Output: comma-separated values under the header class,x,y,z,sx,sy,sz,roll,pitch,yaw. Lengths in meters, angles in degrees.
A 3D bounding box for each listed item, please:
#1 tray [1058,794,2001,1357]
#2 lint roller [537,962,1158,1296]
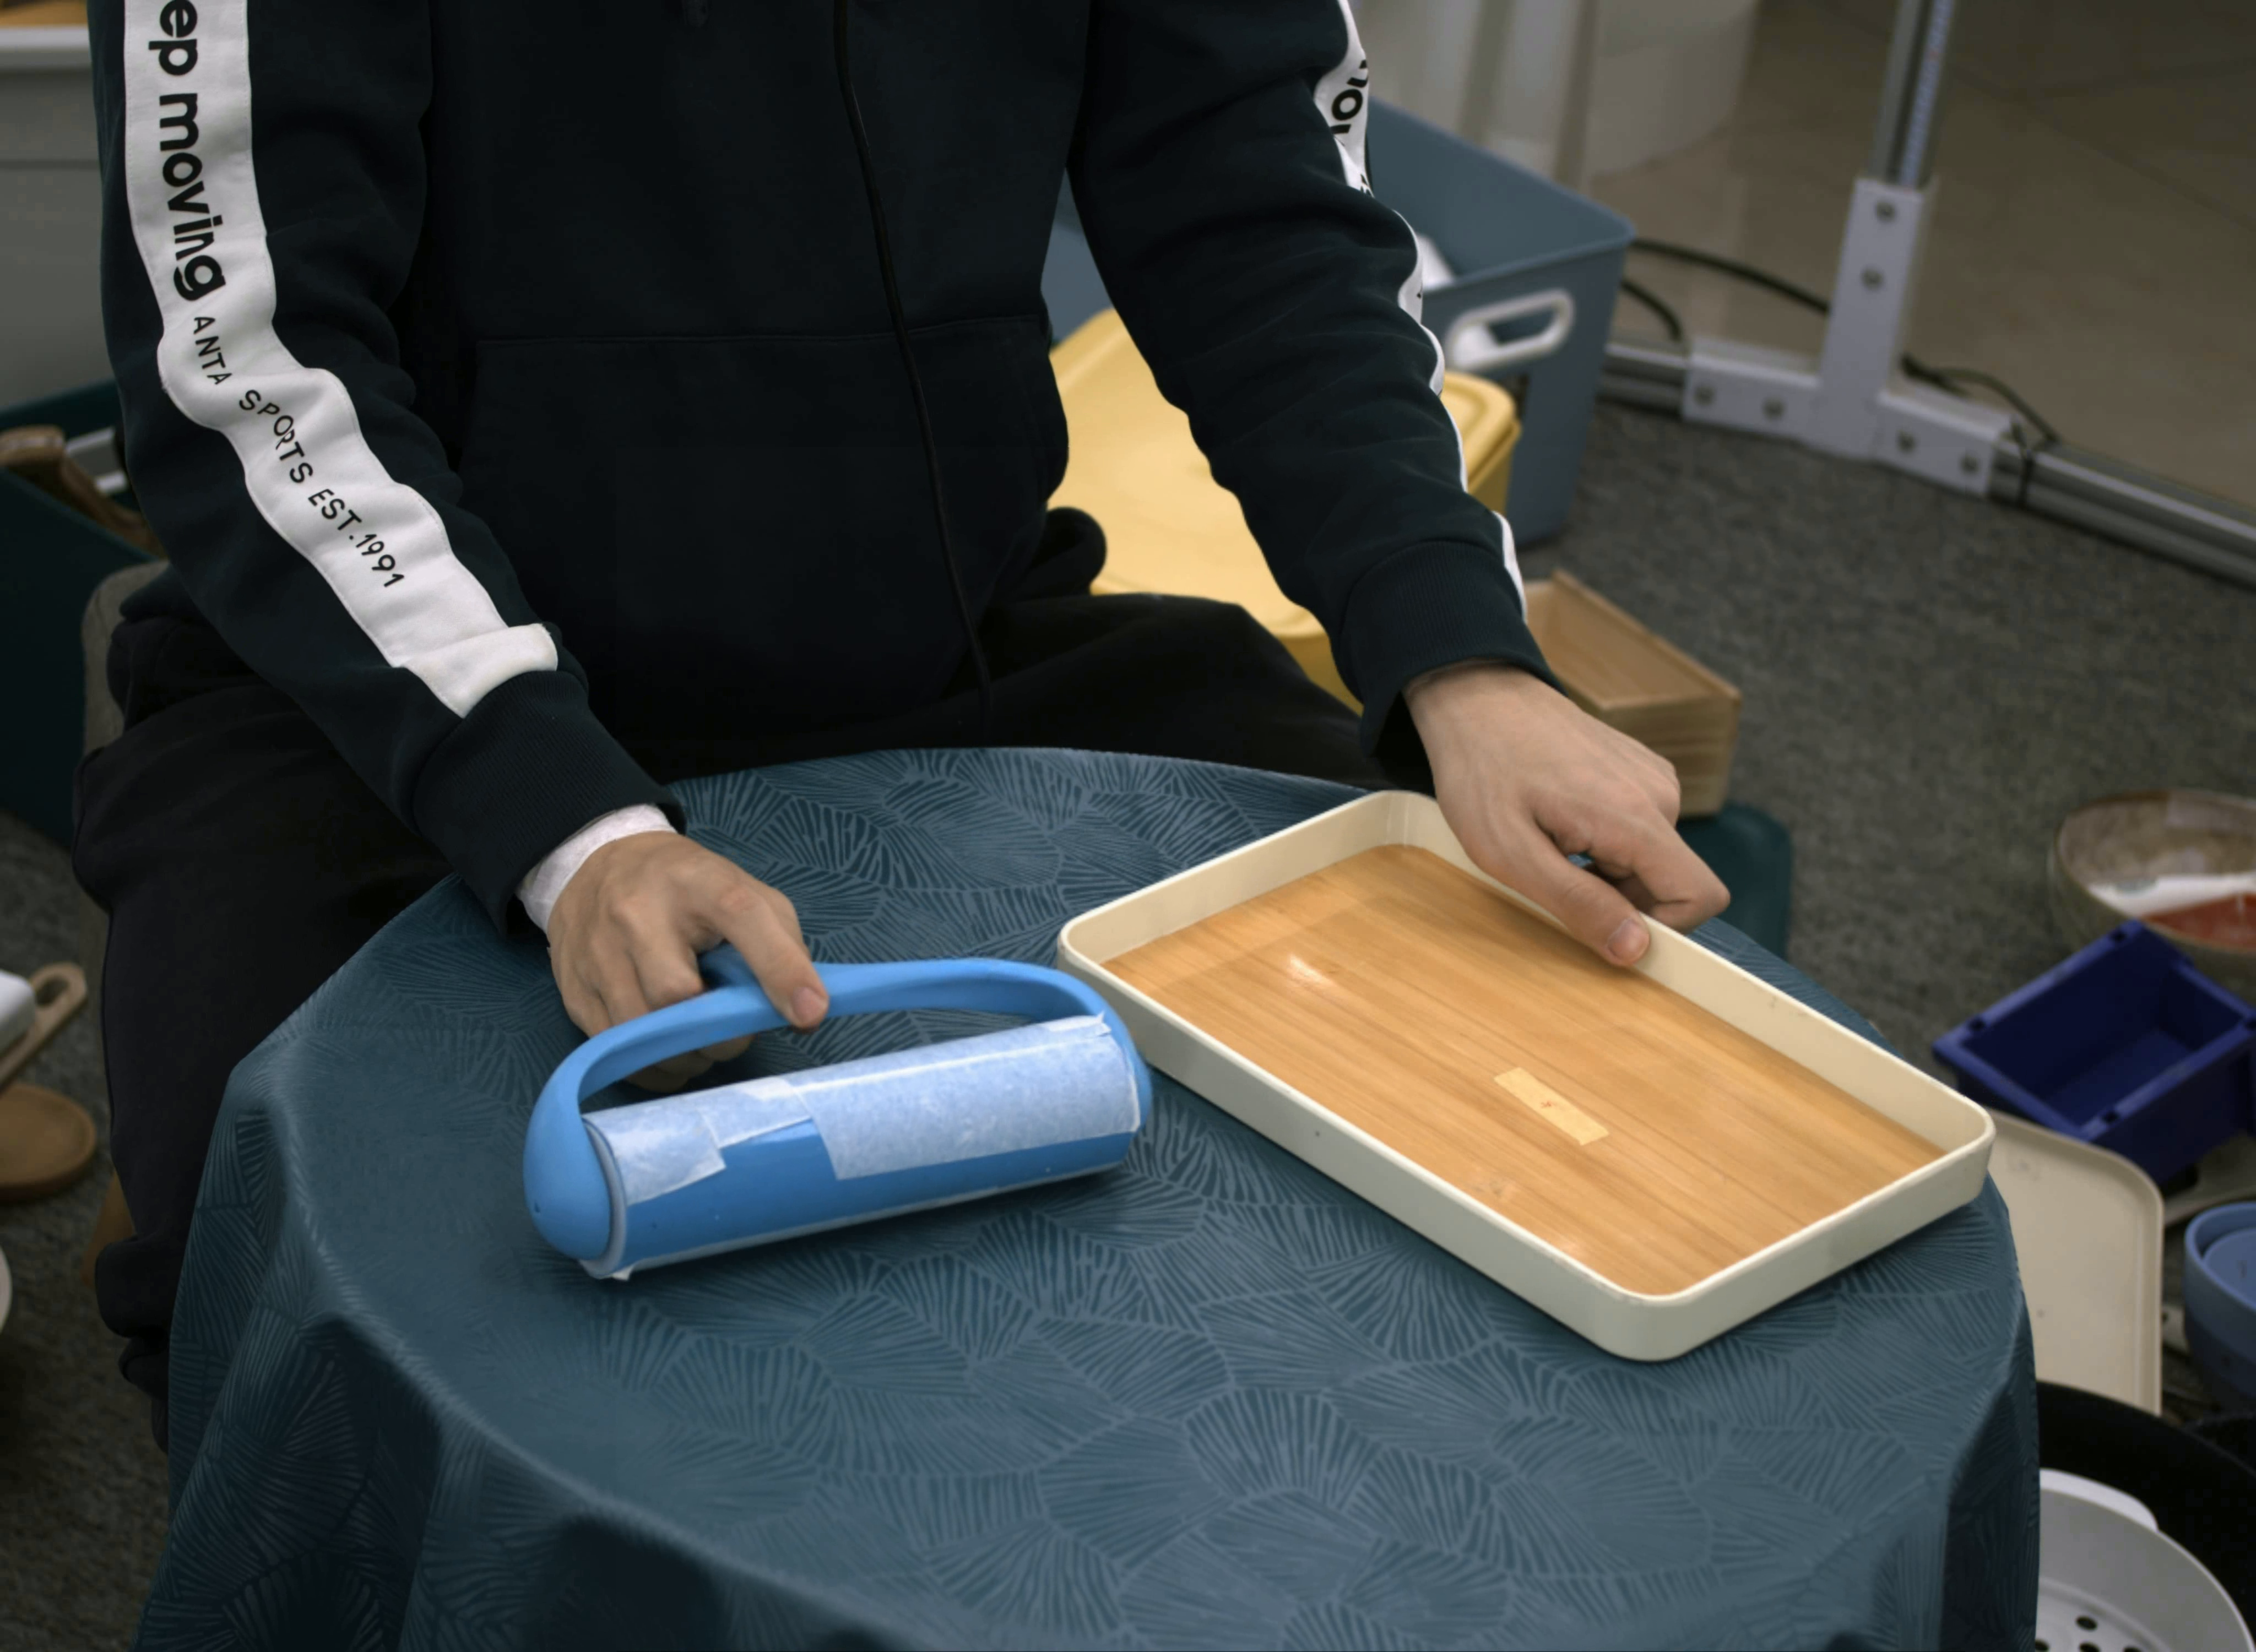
class,x,y,z,sx,sy,sz,roll,pitch,yaw
tray,0.137,0.082,1.870,0.190,0.027,0.303,-21,38,-37
lint roller,-0.123,0.080,1.796,0.227,0.067,0.182,-15,34,-32
